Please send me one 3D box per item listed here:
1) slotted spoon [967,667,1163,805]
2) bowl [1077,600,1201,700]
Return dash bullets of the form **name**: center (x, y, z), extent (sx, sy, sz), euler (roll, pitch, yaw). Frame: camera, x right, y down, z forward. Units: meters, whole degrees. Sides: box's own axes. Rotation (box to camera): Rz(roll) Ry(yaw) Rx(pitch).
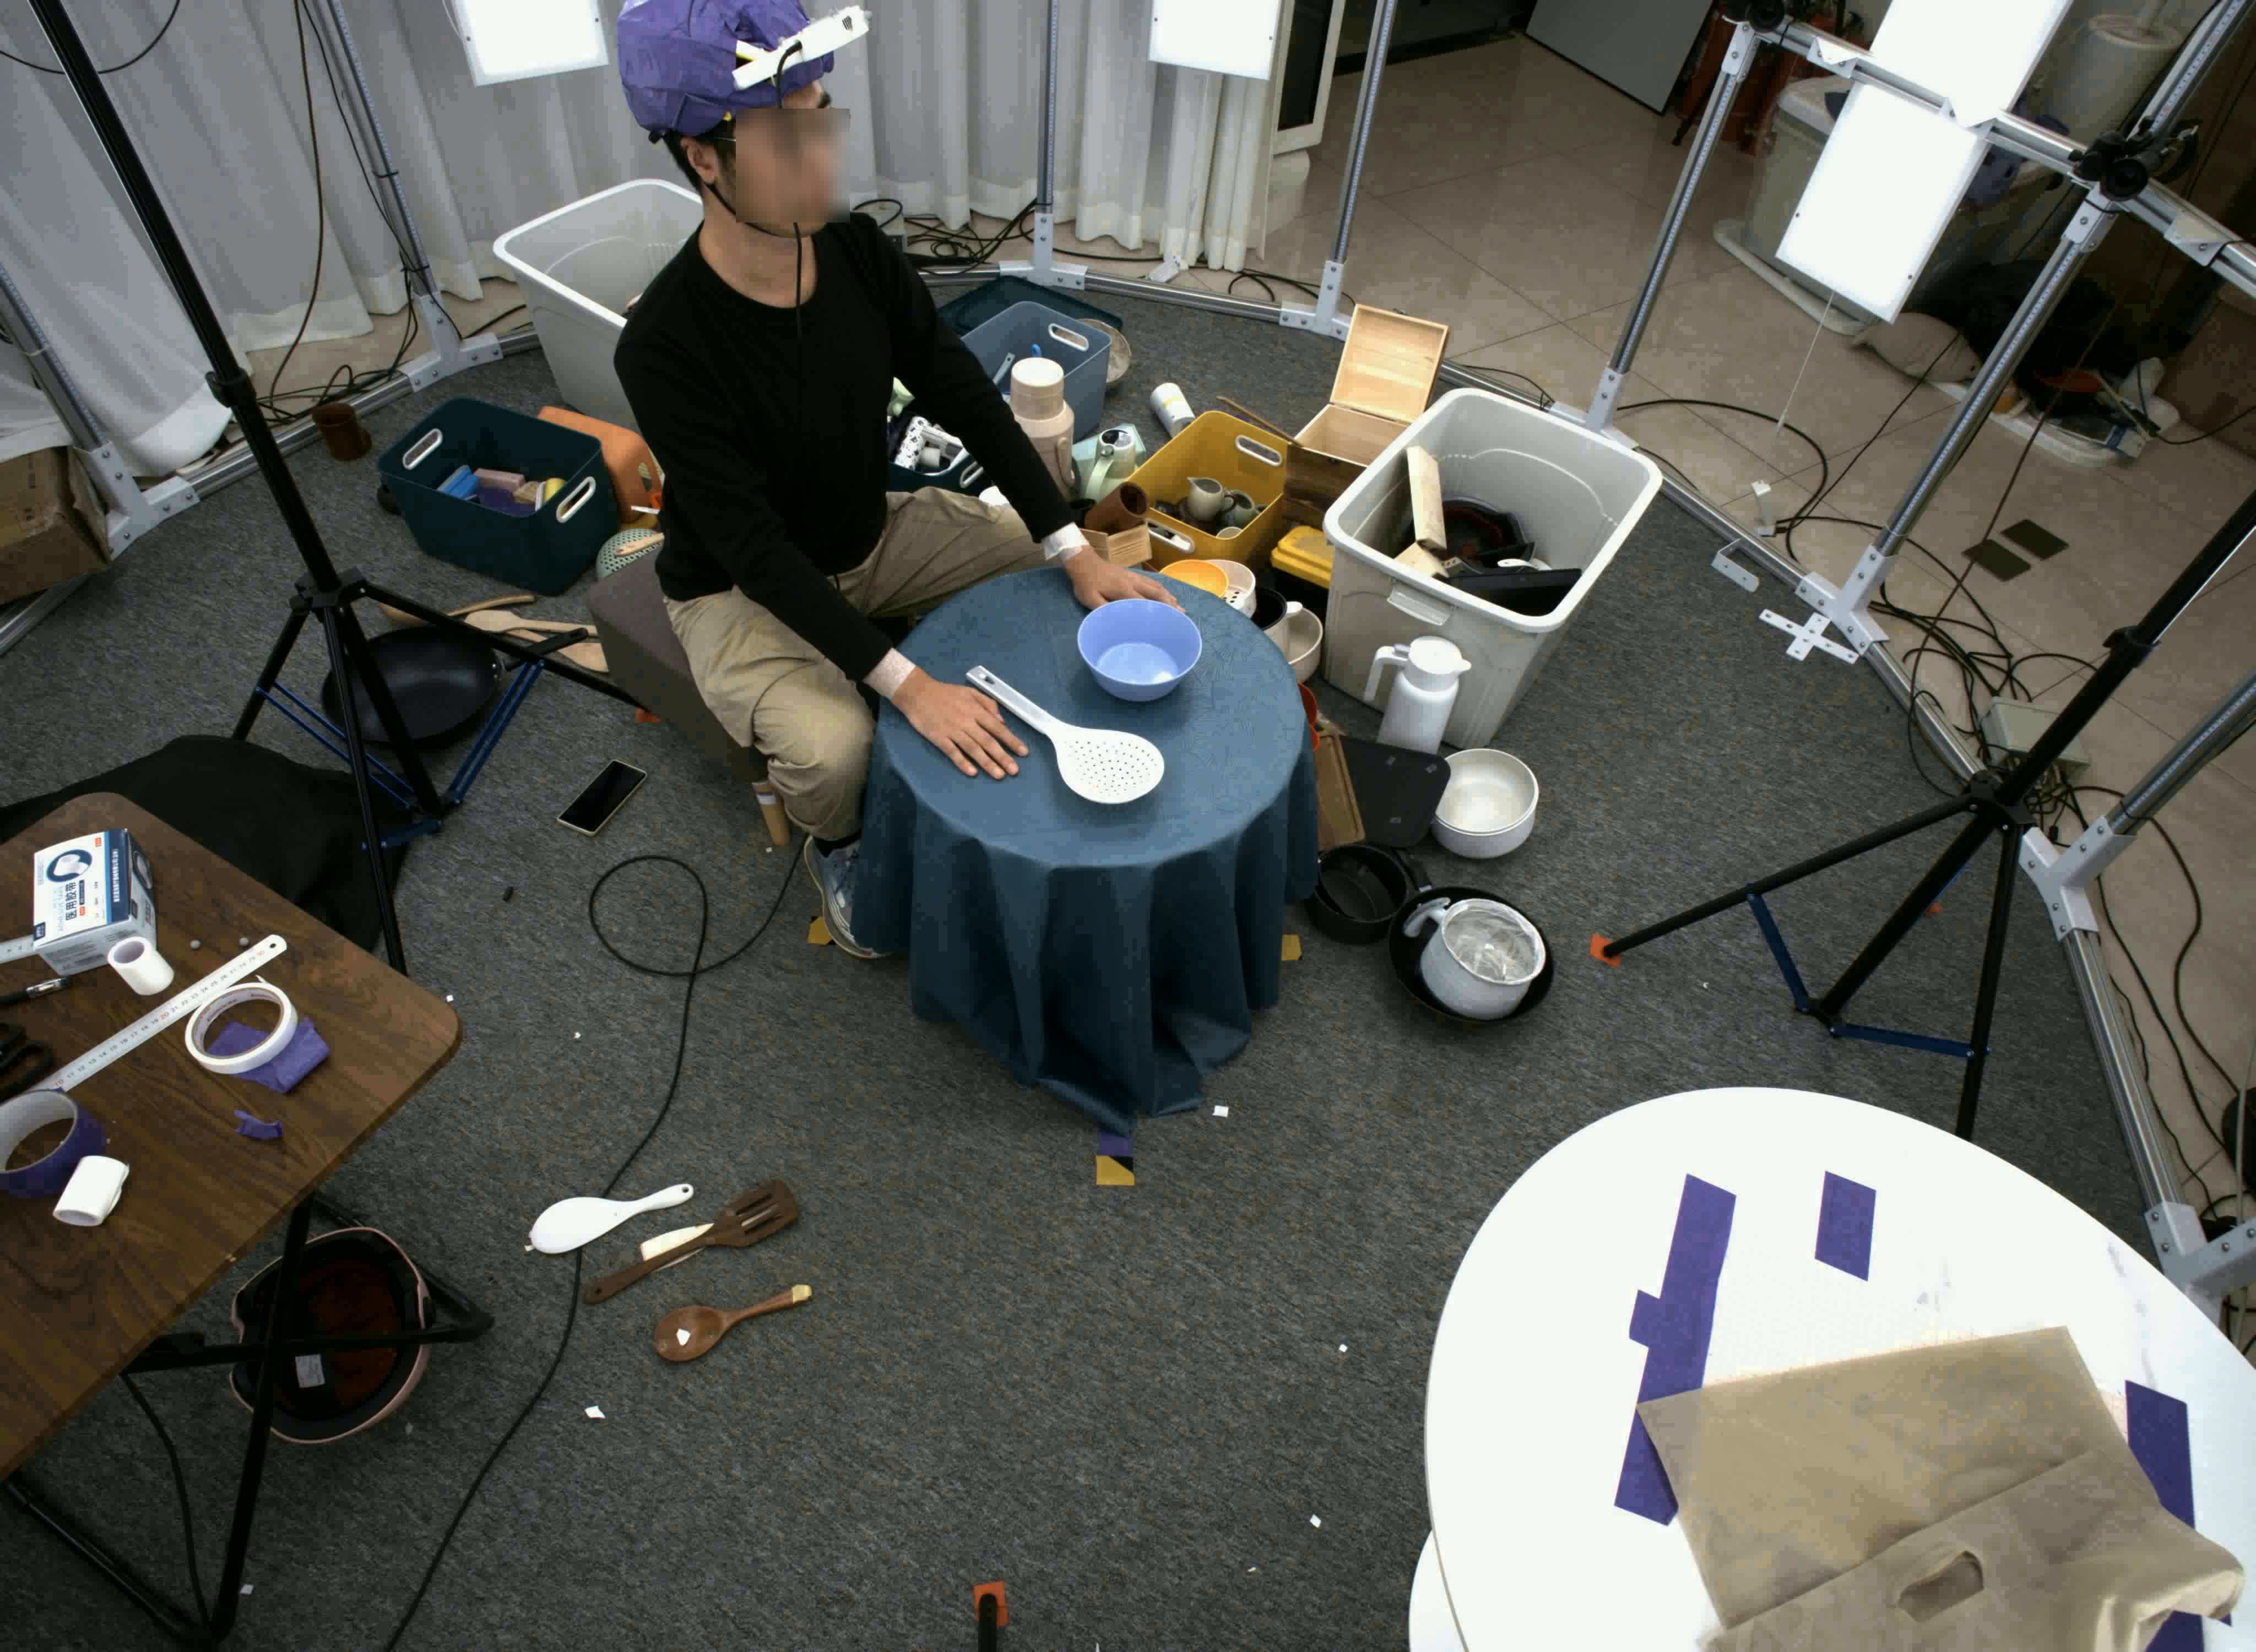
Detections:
- **slotted spoon**: center (-0.099, -0.129, 1.746), extent (0.137, 0.044, 0.355), euler (-35, 59, -29)
- **bowl**: center (0.014, -0.243, 1.836), extent (0.176, 0.068, 0.180), euler (1, 48, -2)
